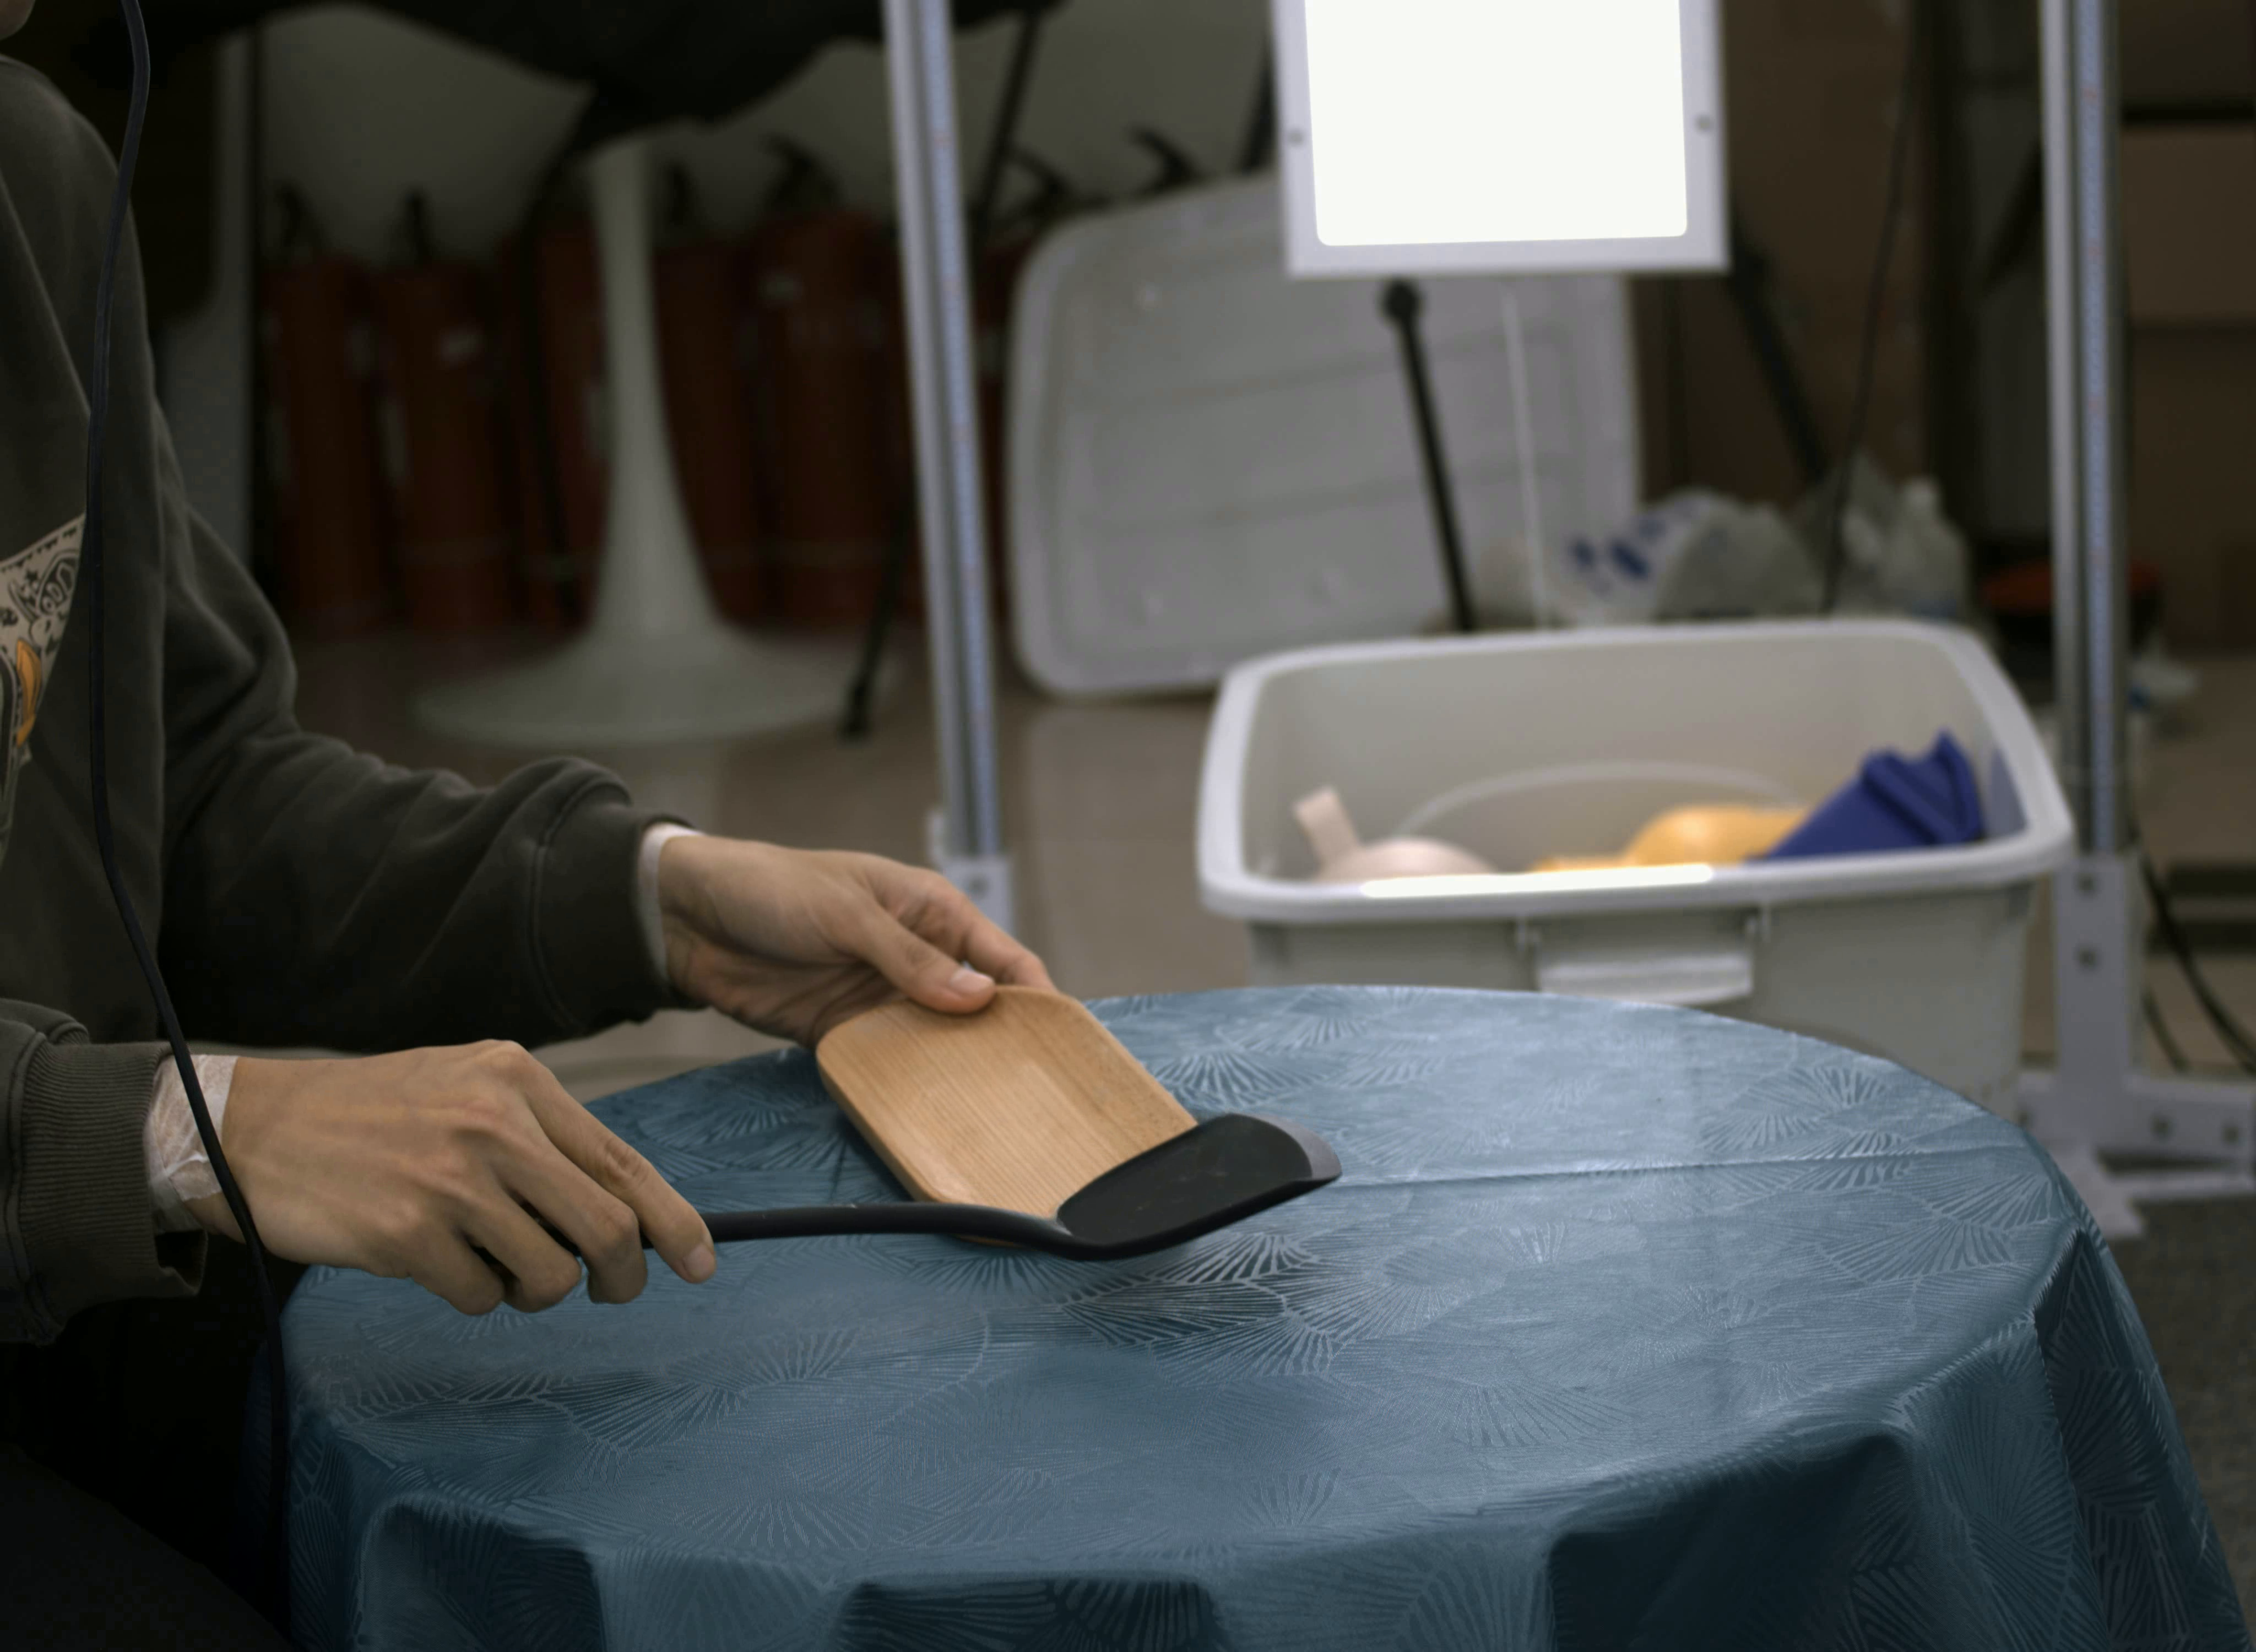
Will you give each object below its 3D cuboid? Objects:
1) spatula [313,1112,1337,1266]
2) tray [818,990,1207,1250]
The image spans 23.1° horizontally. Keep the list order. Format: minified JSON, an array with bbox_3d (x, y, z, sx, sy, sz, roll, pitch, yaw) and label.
[{"bbox_3d":[-0.097,0.120,1.761,0.322,0.040,0.100,0,8,-11],"label":"spatula"},{"bbox_3d":[-0.042,0.102,1.945,0.100,0.020,0.233,-14,21,-14],"label":"tray"}]
